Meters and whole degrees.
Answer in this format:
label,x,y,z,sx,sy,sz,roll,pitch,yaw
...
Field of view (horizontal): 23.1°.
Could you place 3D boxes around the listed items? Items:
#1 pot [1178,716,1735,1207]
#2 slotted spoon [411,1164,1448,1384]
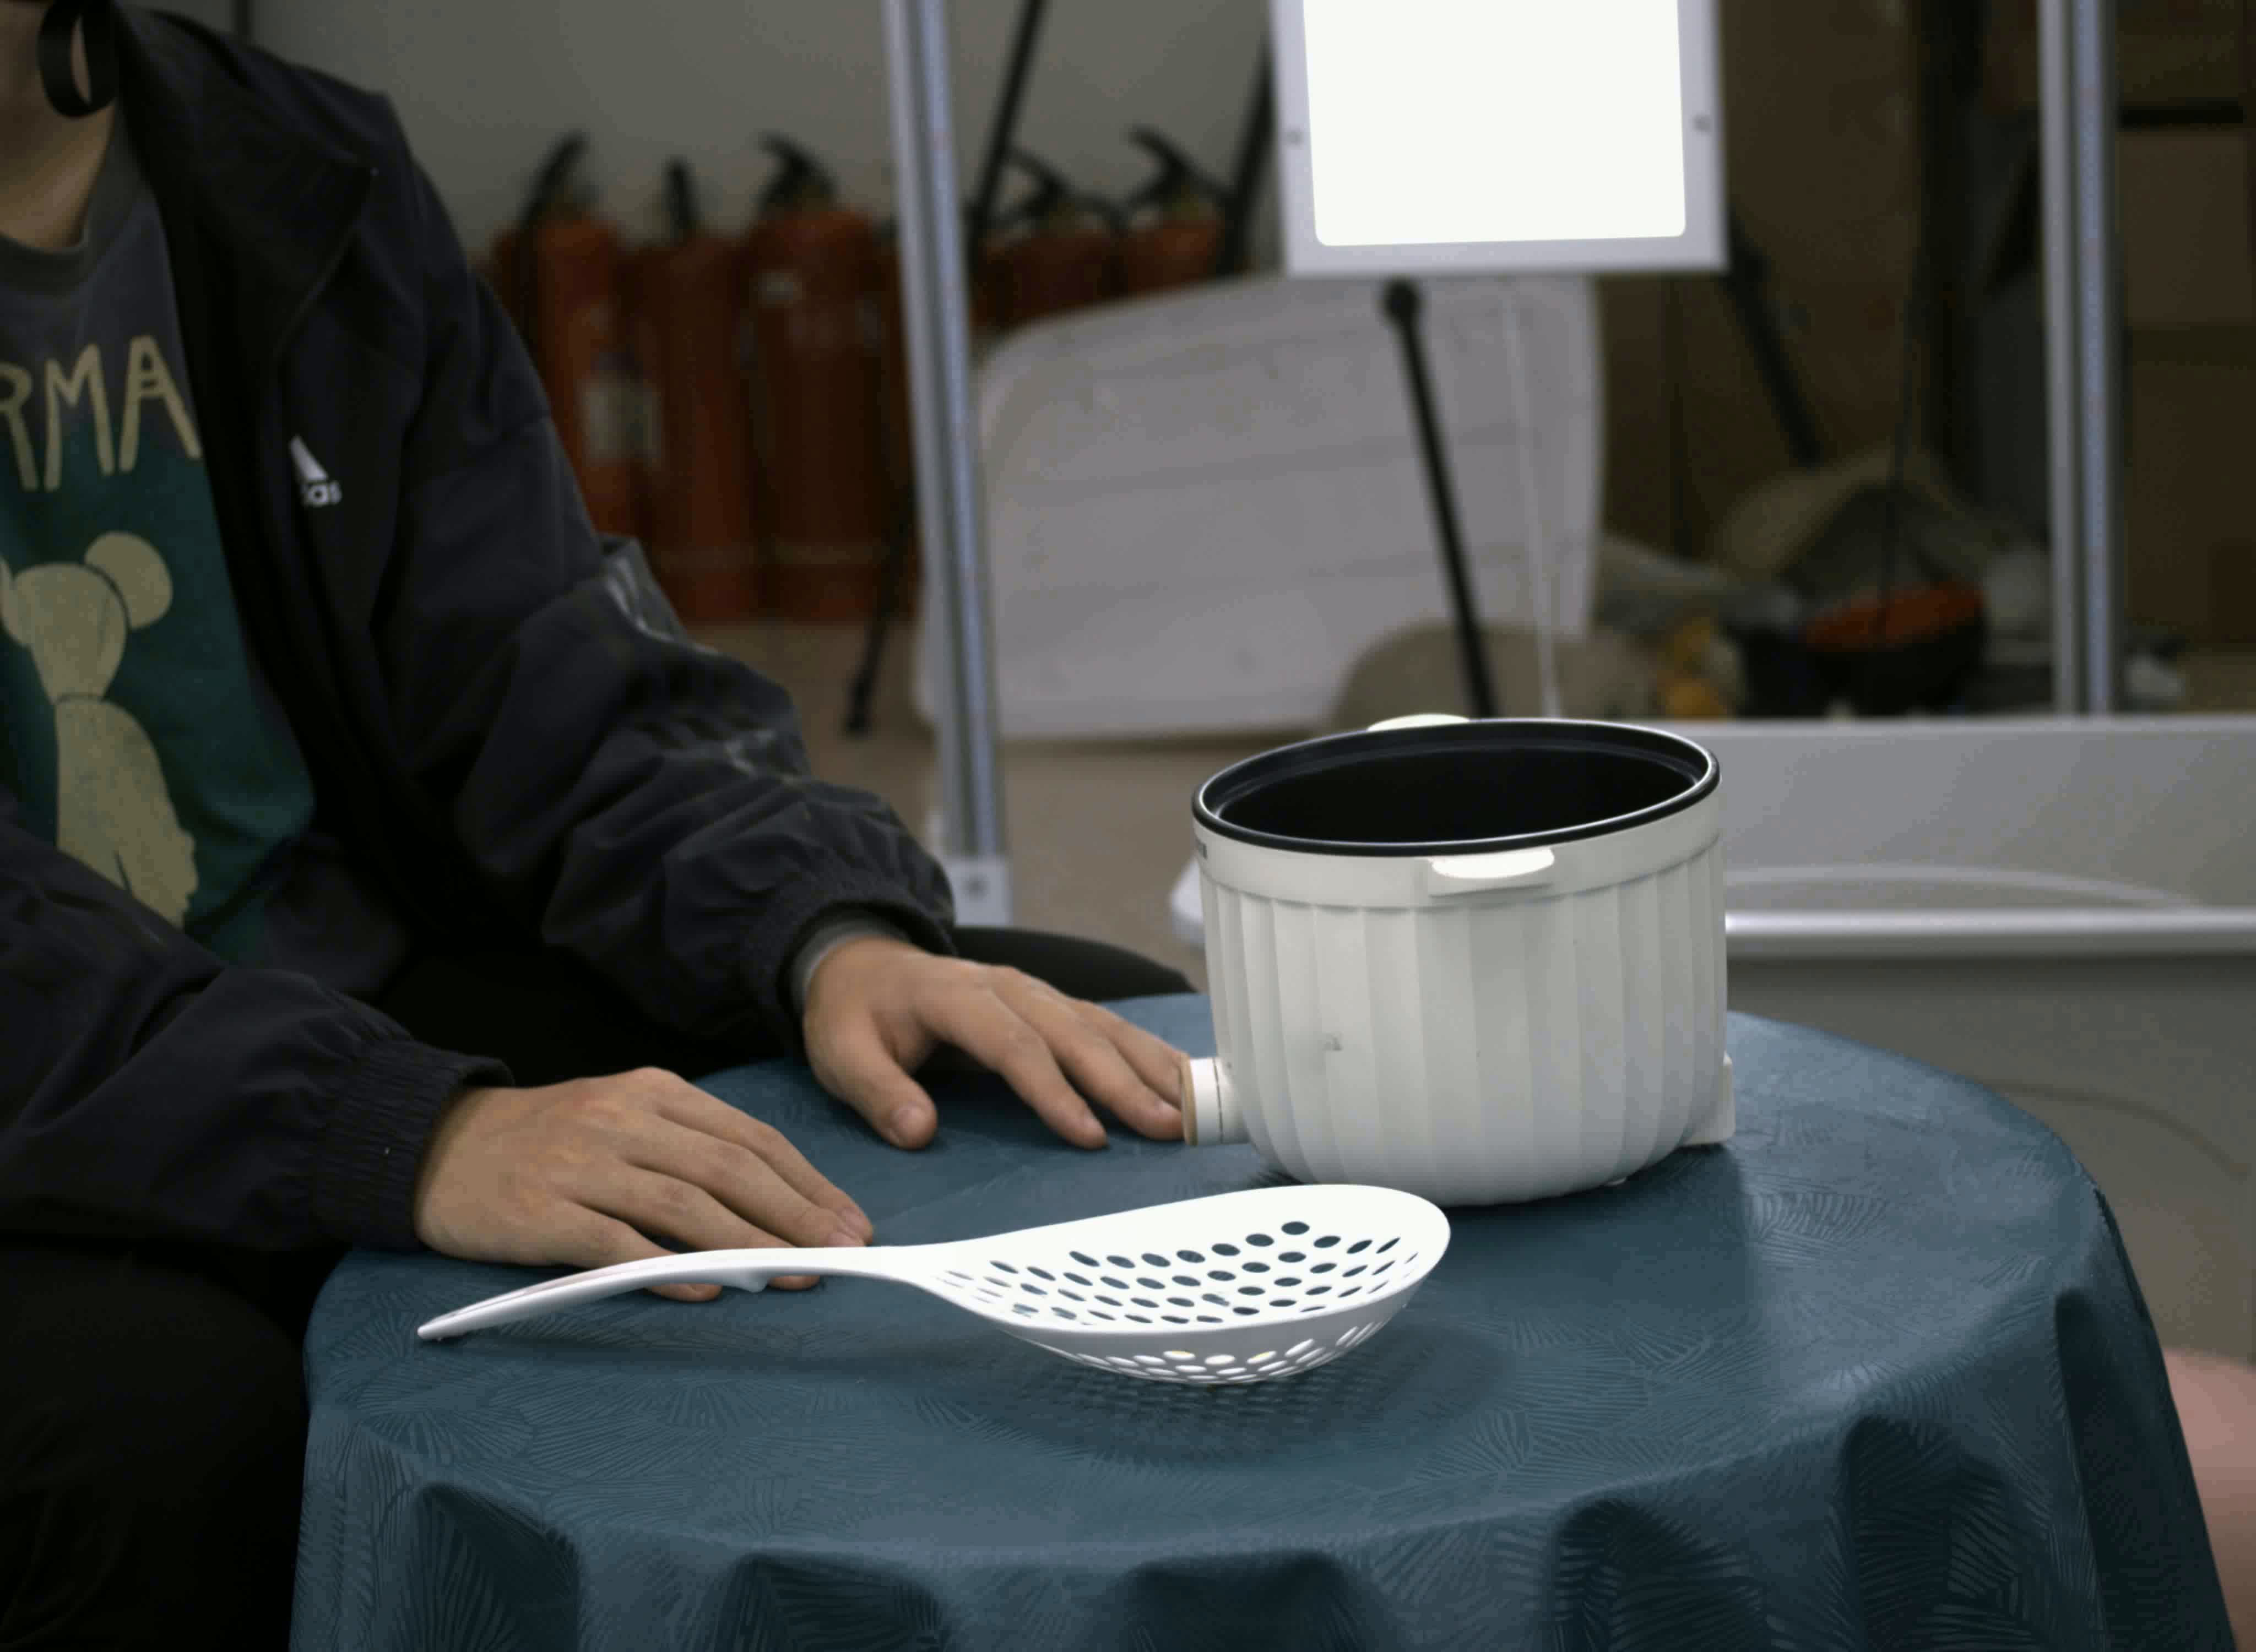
label,x,y,z,sx,sy,sz,roll,pitch,yaw
pot,0.112,0.049,1.882,0.189,0.143,0.240,-3,12,-3
slotted spoon,-0.068,0.148,1.745,0.352,0.050,0.134,0,17,21
